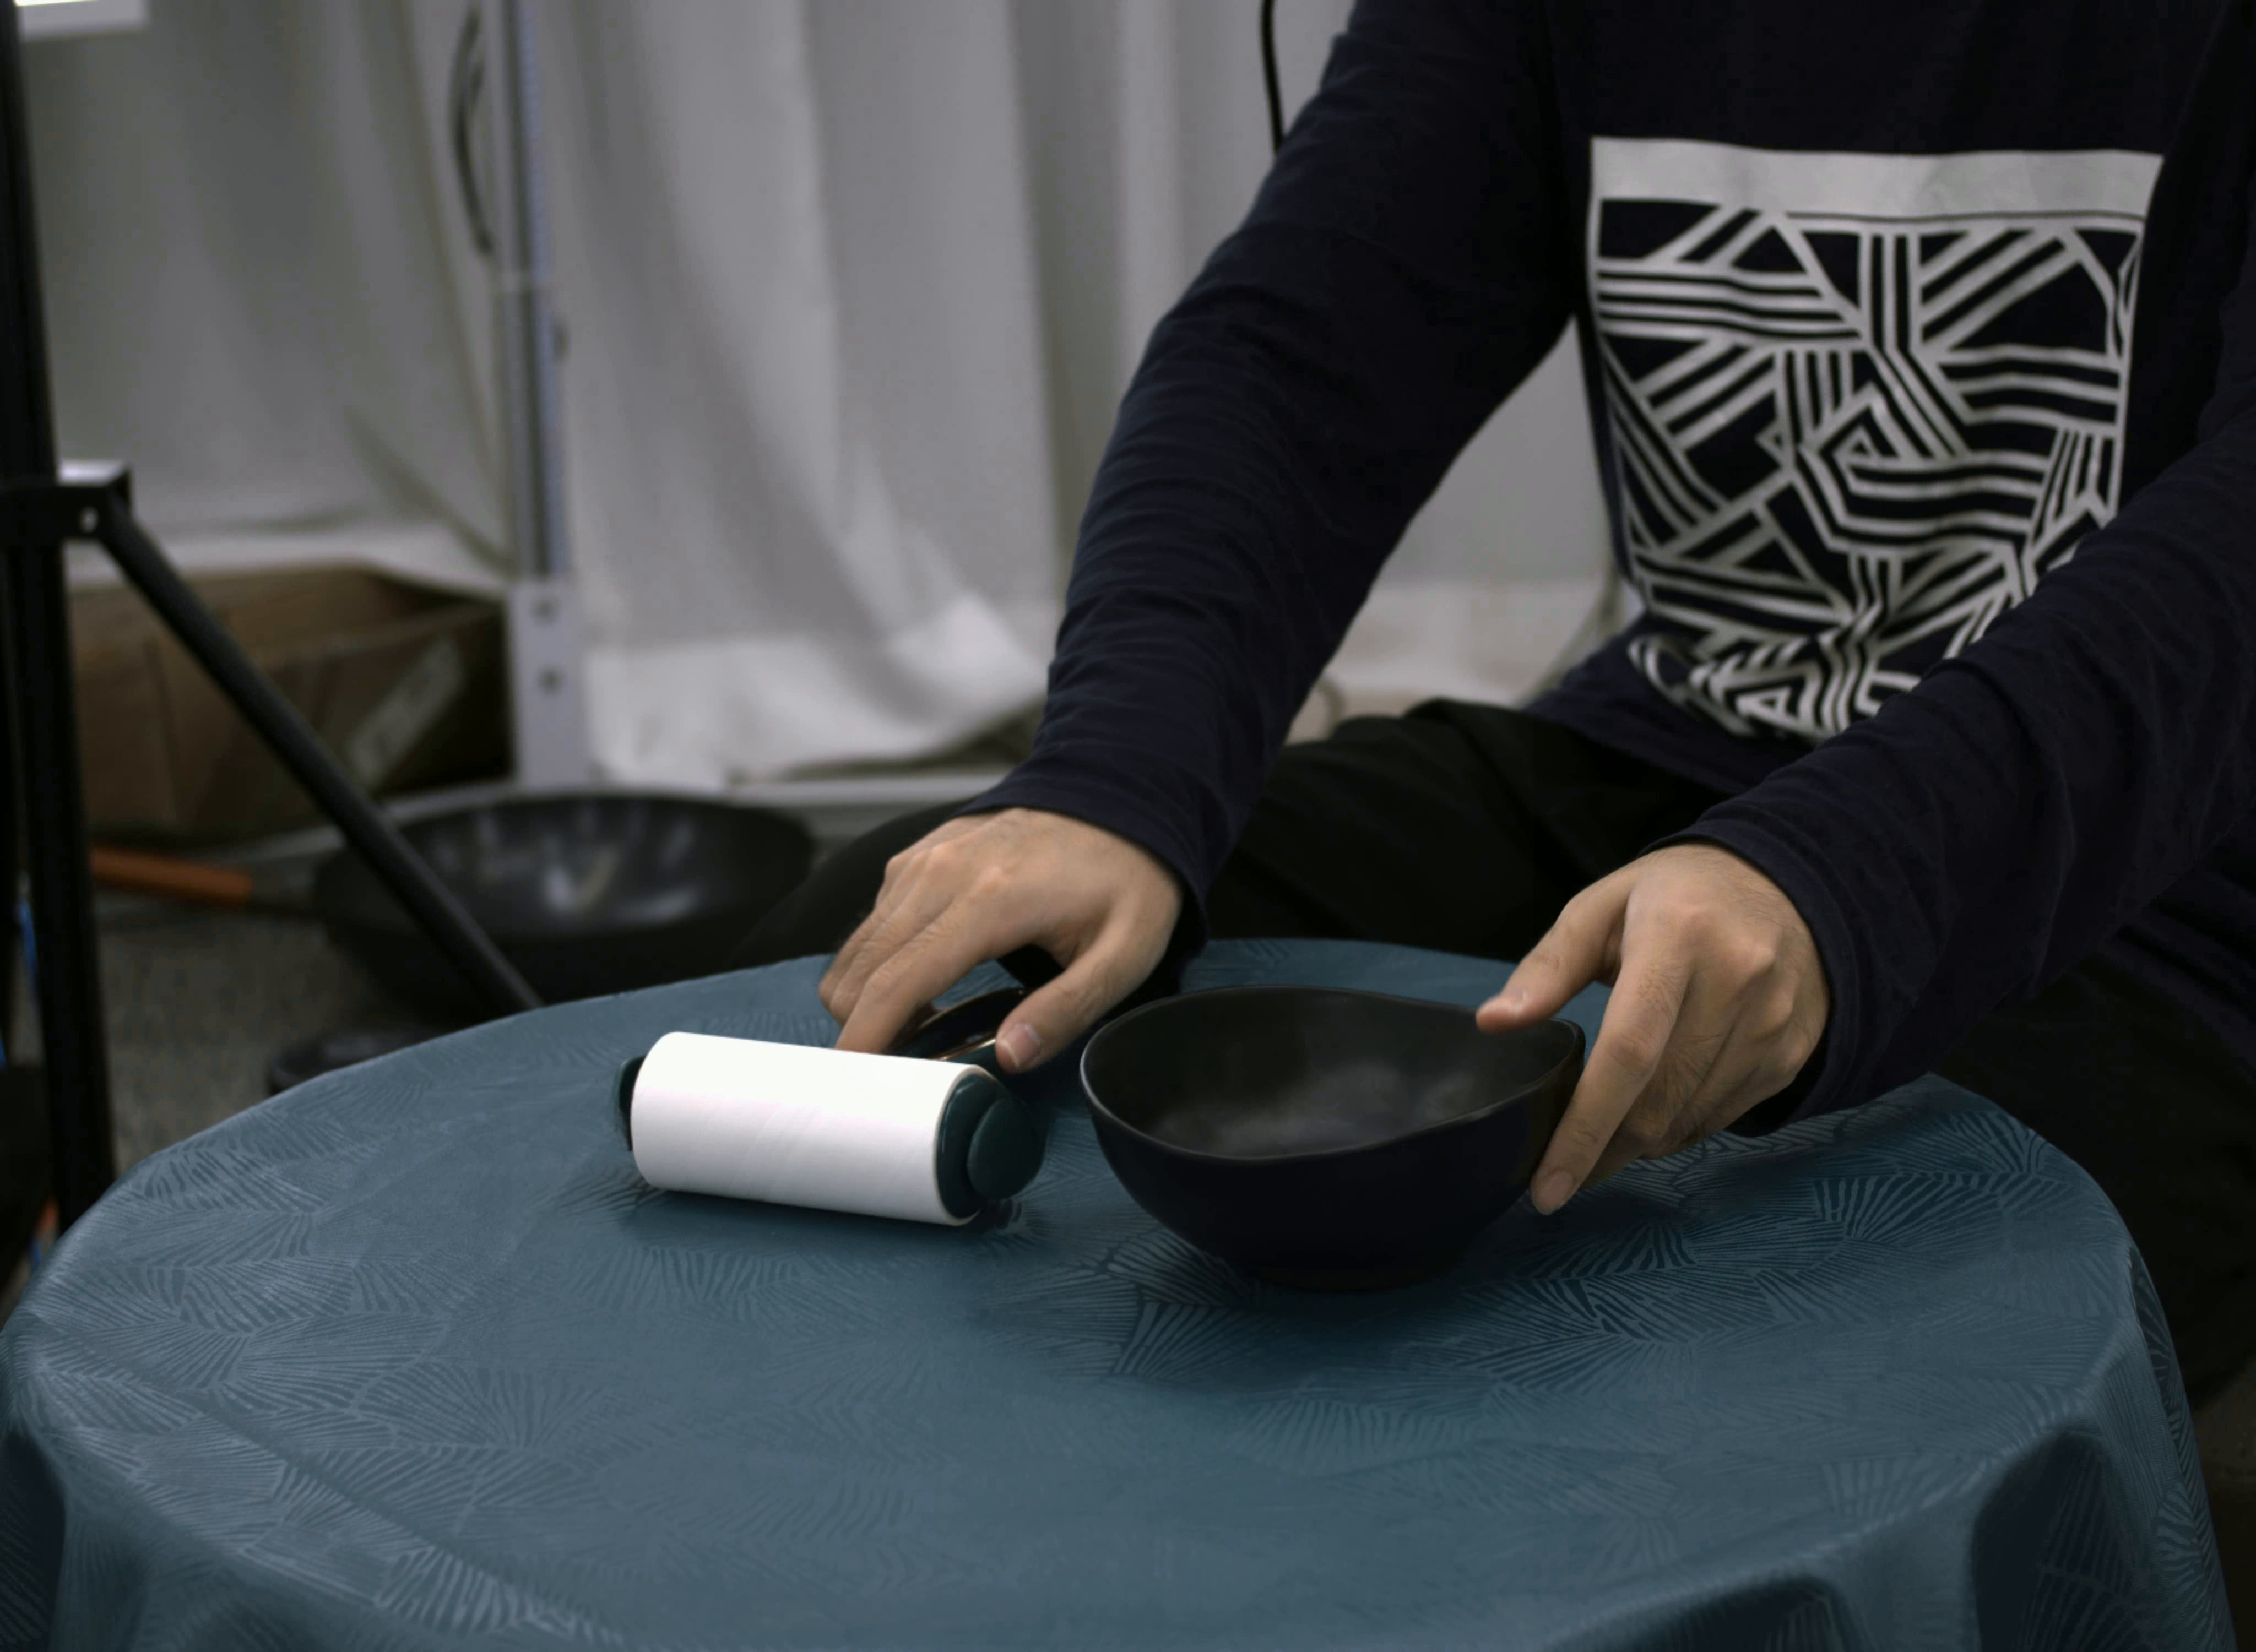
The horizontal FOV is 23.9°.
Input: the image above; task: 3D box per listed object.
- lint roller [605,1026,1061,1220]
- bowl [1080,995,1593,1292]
[{"bbox_3d":[-0.065,0.071,1.617,0.136,0.048,0.177,5,17,25],"label":"lint roller"},{"bbox_3d":[0.060,0.091,1.495,0.140,0.067,0.167,7,16,29],"label":"bowl"}]
